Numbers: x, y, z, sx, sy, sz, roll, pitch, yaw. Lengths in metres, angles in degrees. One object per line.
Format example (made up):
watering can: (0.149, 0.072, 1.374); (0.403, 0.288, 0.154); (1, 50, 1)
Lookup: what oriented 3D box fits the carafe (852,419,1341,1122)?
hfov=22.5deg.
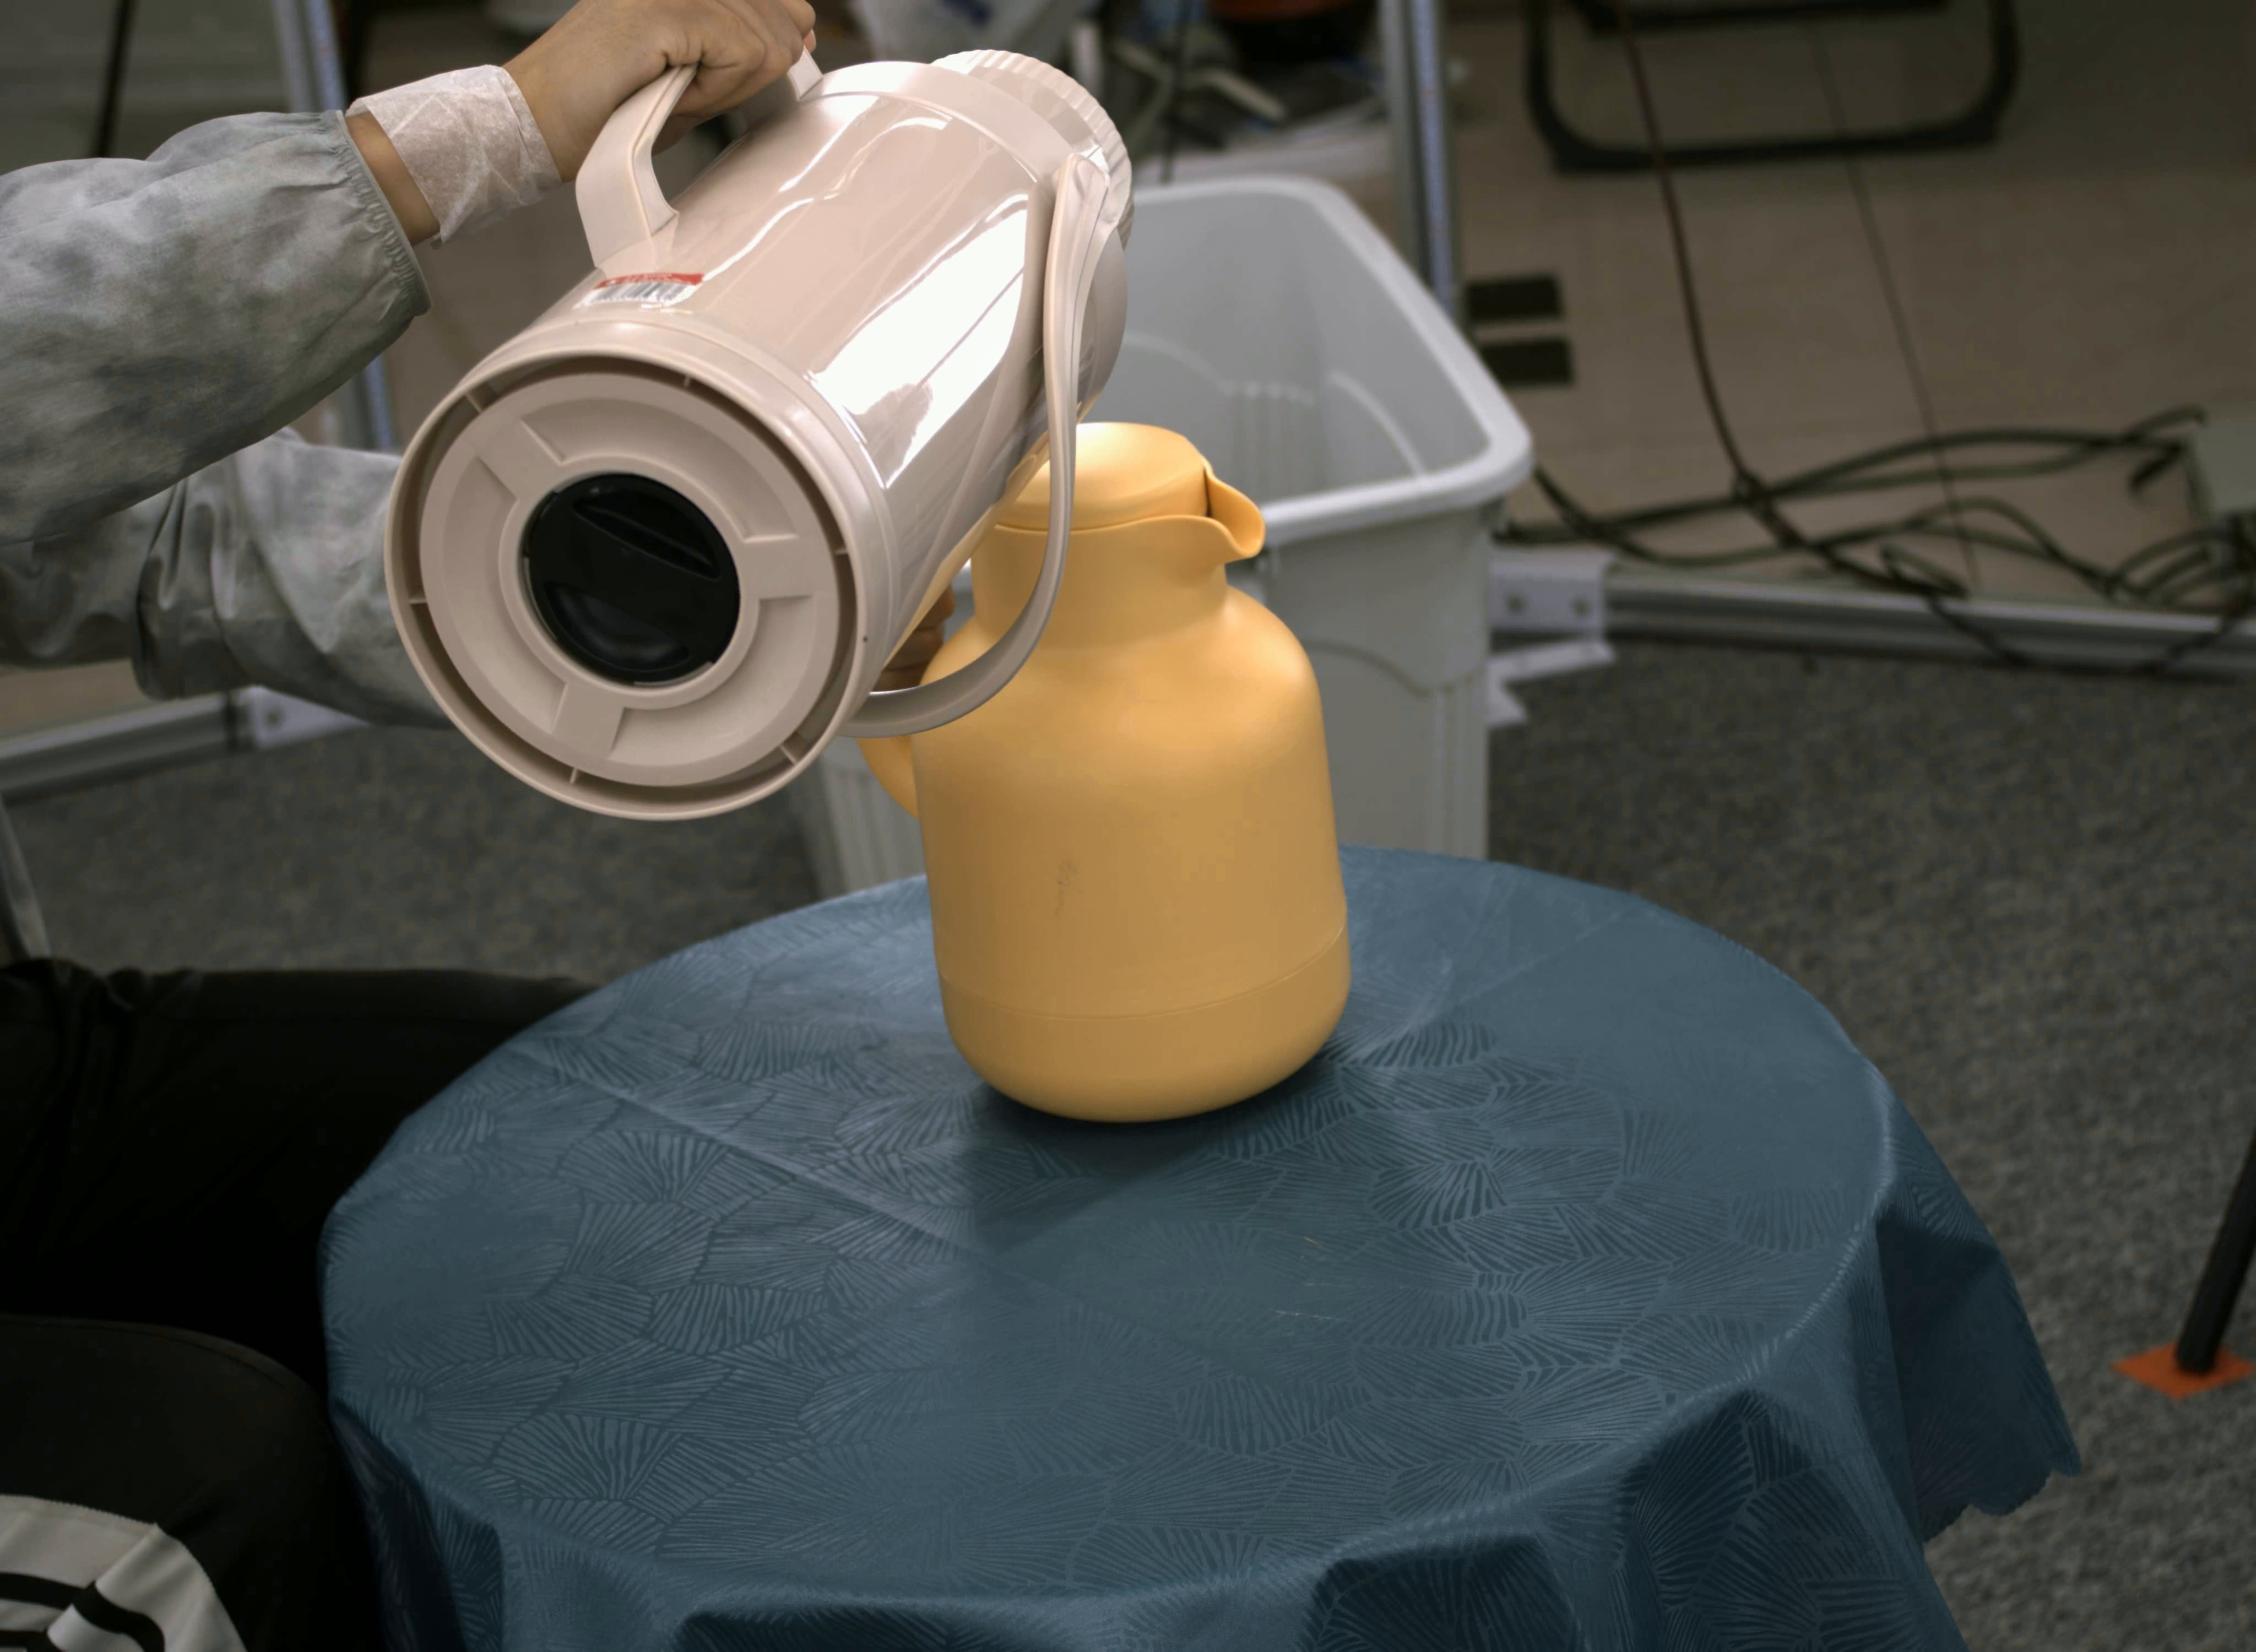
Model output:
carafe: (-0.019, -0.030, 2.203); (0.201, 0.264, 0.162); (13, 30, 33)

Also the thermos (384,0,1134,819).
thermos: (-0.111, -0.166, 1.908); (0.176, 0.209, 0.401); (-24, 16, 27)
